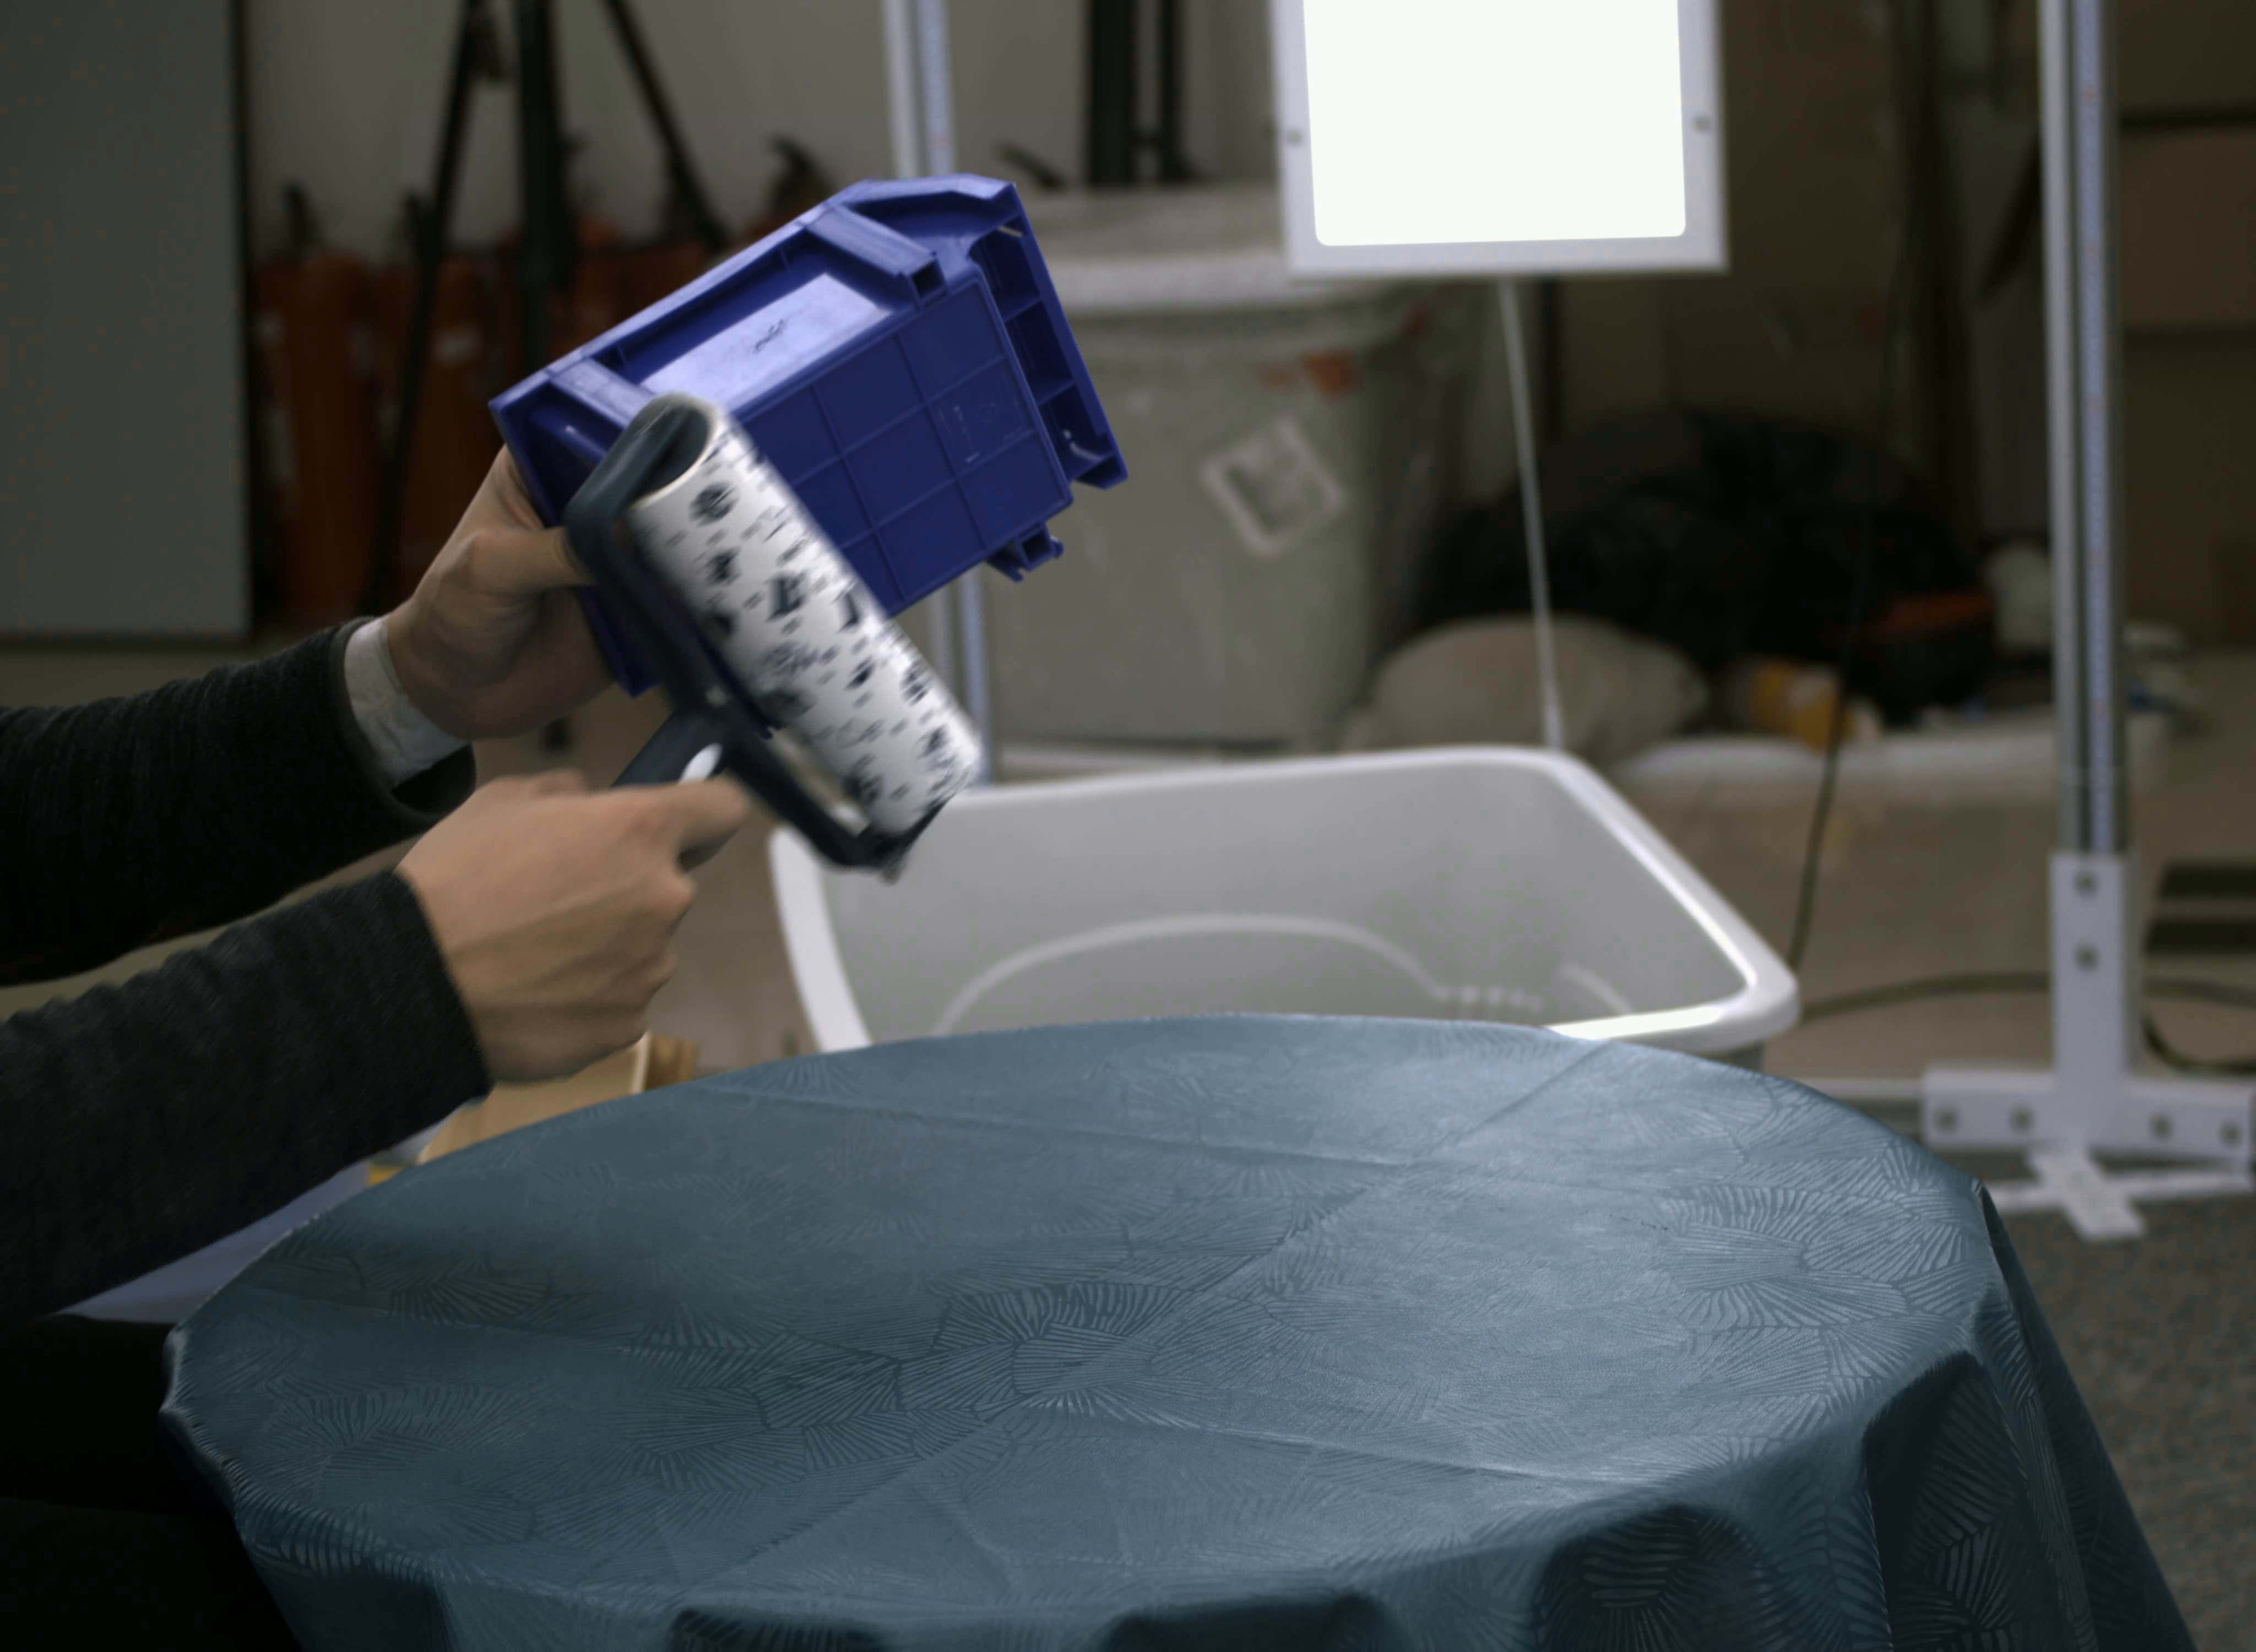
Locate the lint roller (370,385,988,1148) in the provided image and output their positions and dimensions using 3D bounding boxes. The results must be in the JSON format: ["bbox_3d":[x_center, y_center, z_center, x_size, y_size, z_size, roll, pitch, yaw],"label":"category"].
[{"bbox_3d":[-0.156,0.005,1.754,0.051,0.174,0.244,11,59,46],"label":"lint roller"}]

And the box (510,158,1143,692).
[{"bbox_3d":[-0.094,-0.129,1.850,0.177,0.124,0.083,-35,33,-16],"label":"box"}]
